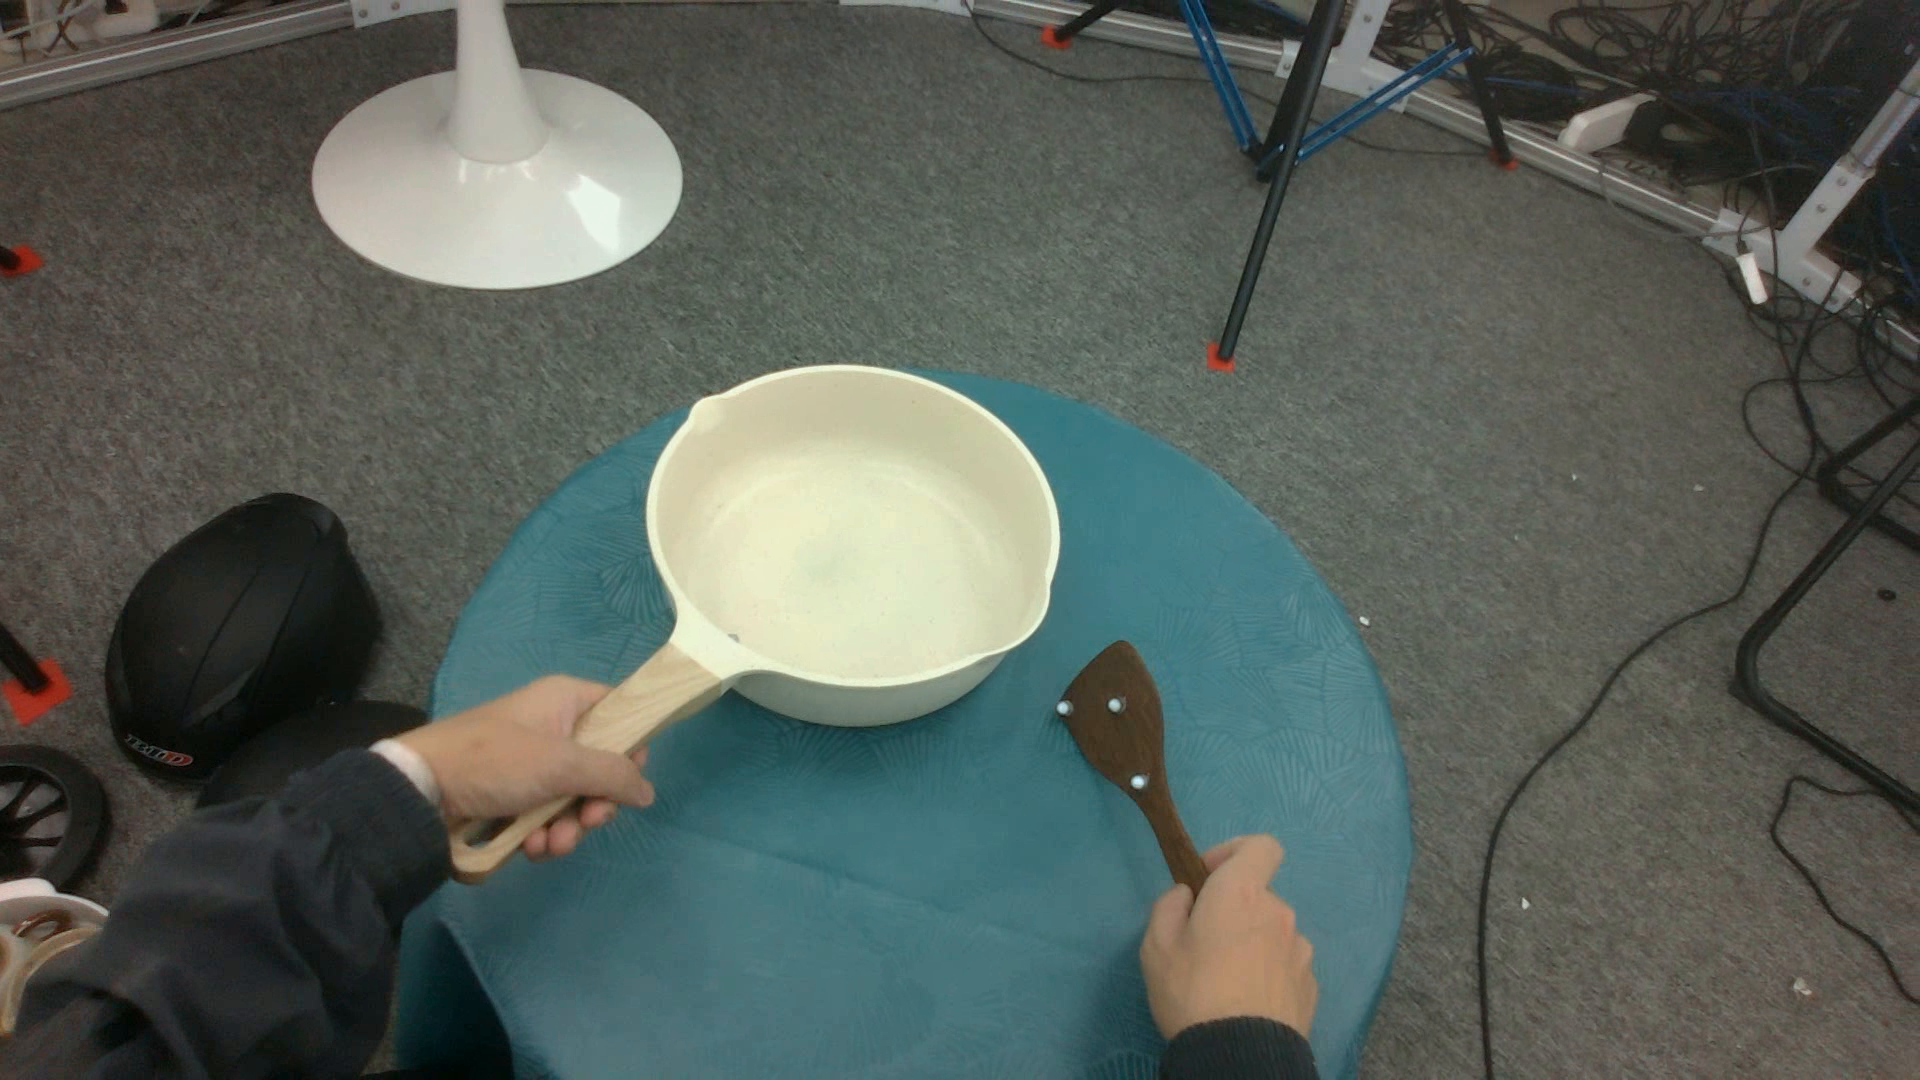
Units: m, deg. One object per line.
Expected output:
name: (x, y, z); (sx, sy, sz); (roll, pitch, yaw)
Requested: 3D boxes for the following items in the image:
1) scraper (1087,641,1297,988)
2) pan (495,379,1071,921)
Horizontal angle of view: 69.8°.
scraper: (0.137, 0.159, 0.802); (0.011, 0.075, 0.212); (9, 43, -40)
pan: (-0.108, 0.068, 0.824); (0.263, 0.101, 0.437); (31, 54, 15)
